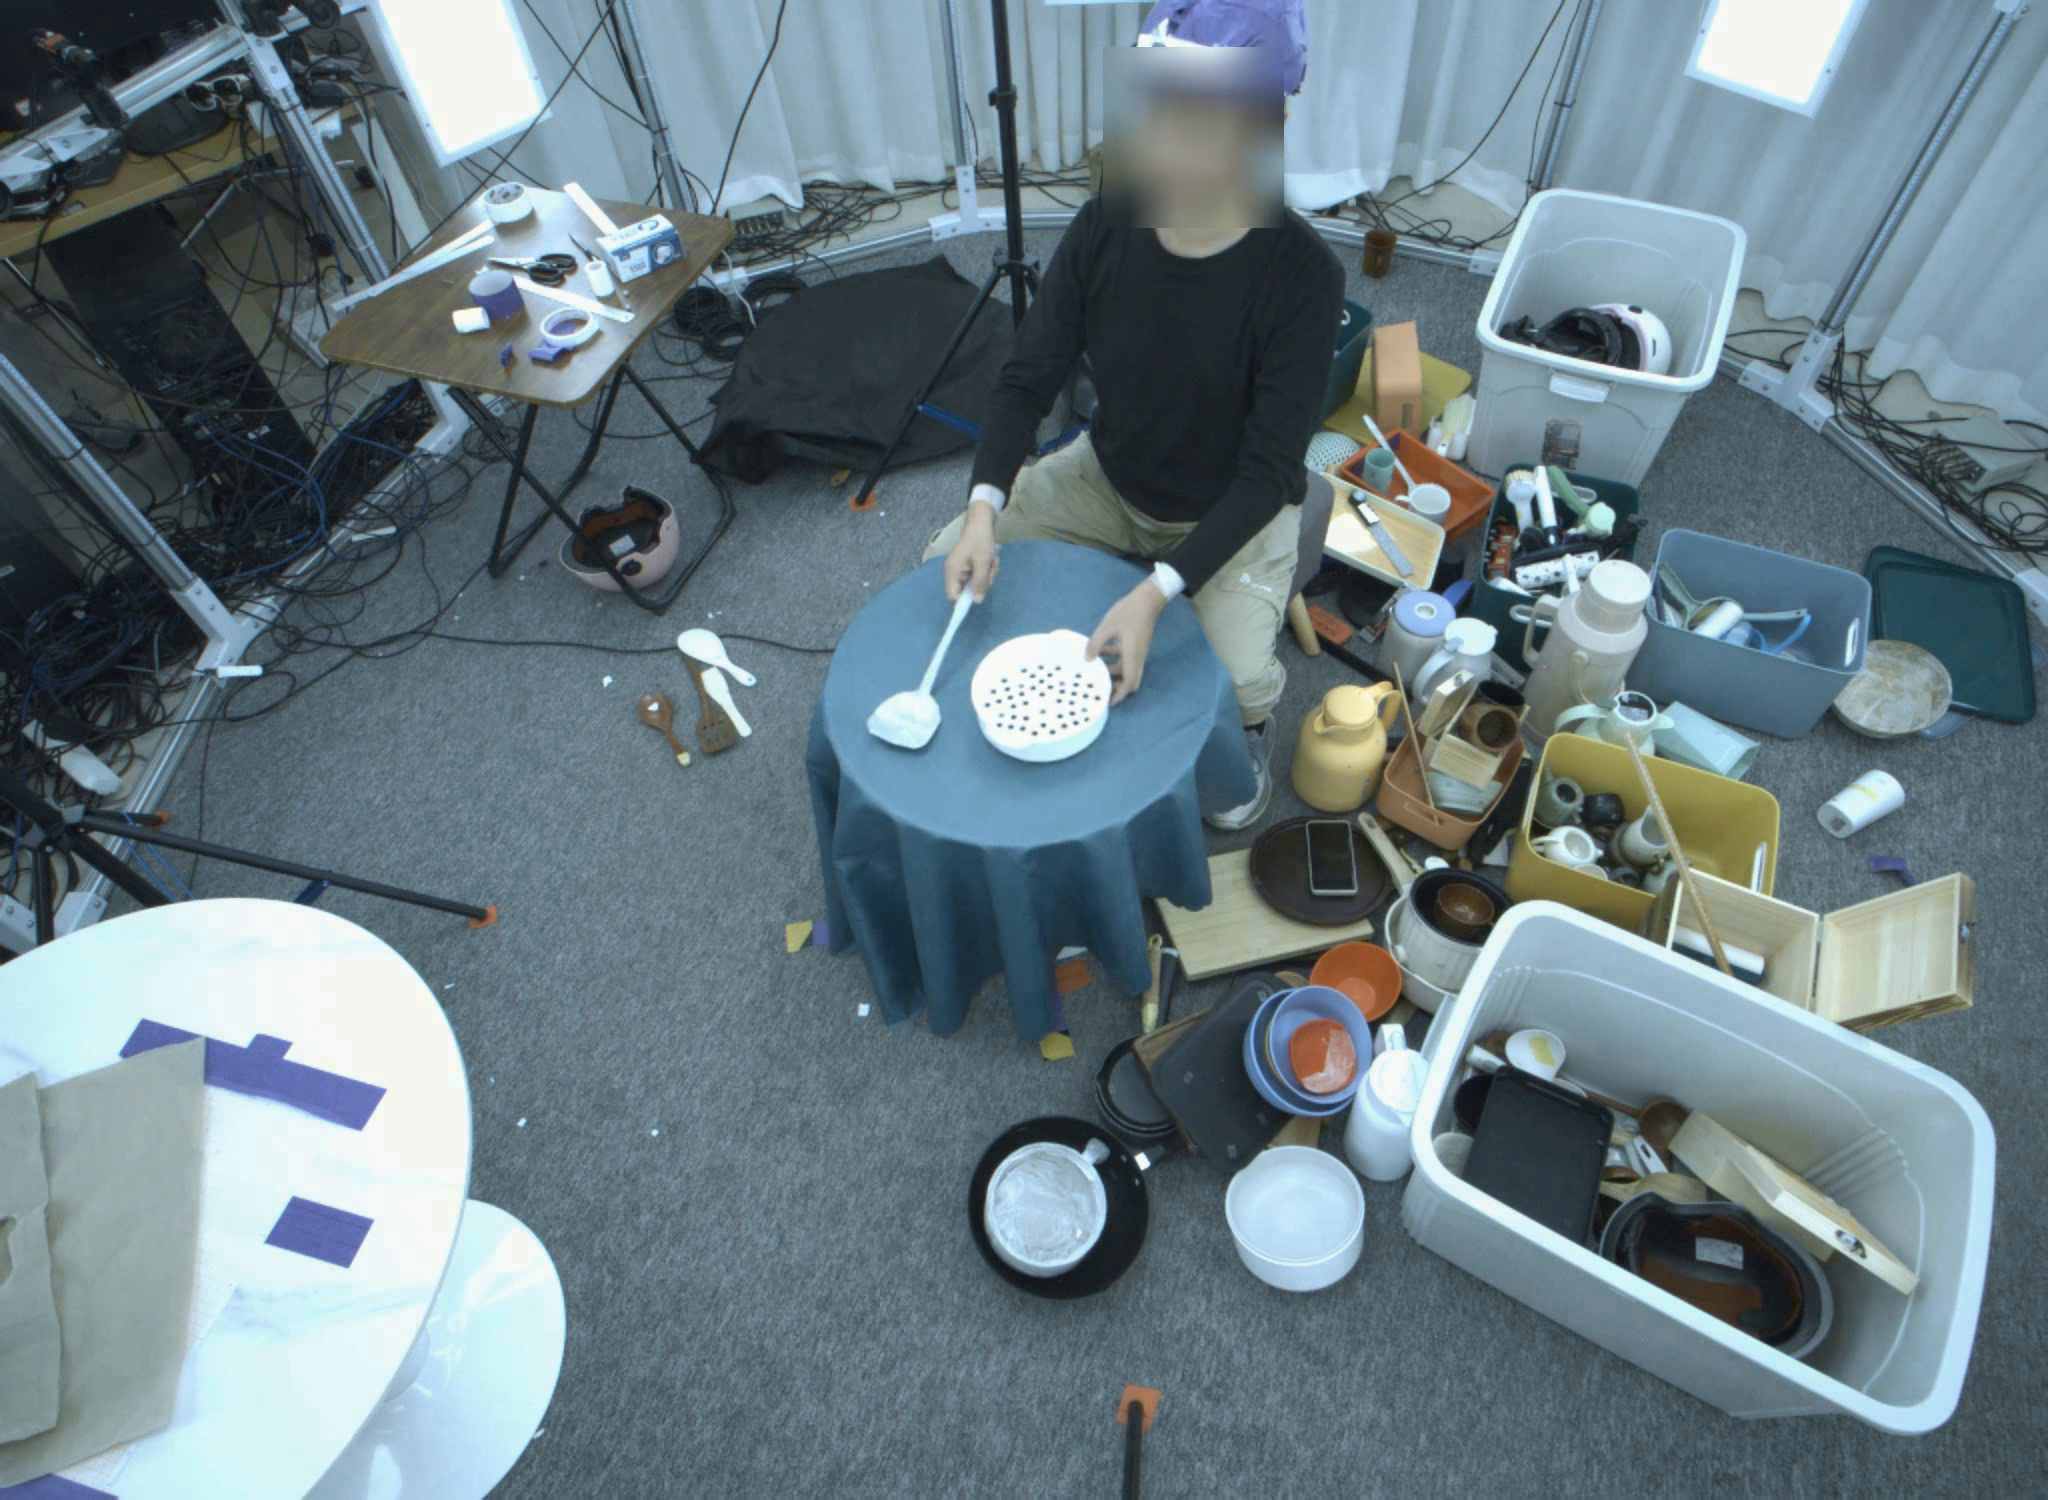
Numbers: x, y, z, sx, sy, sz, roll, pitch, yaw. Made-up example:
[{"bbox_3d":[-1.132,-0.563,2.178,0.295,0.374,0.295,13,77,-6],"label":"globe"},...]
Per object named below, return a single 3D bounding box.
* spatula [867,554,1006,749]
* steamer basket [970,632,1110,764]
[{"bbox_3d":[-0.117,-0.159,1.847,0.097,0.045,0.364,21,74,14],"label":"spatula"},{"bbox_3d":[0.023,-0.072,1.794,0.199,0.070,0.231,23,58,16],"label":"steamer basket"}]
